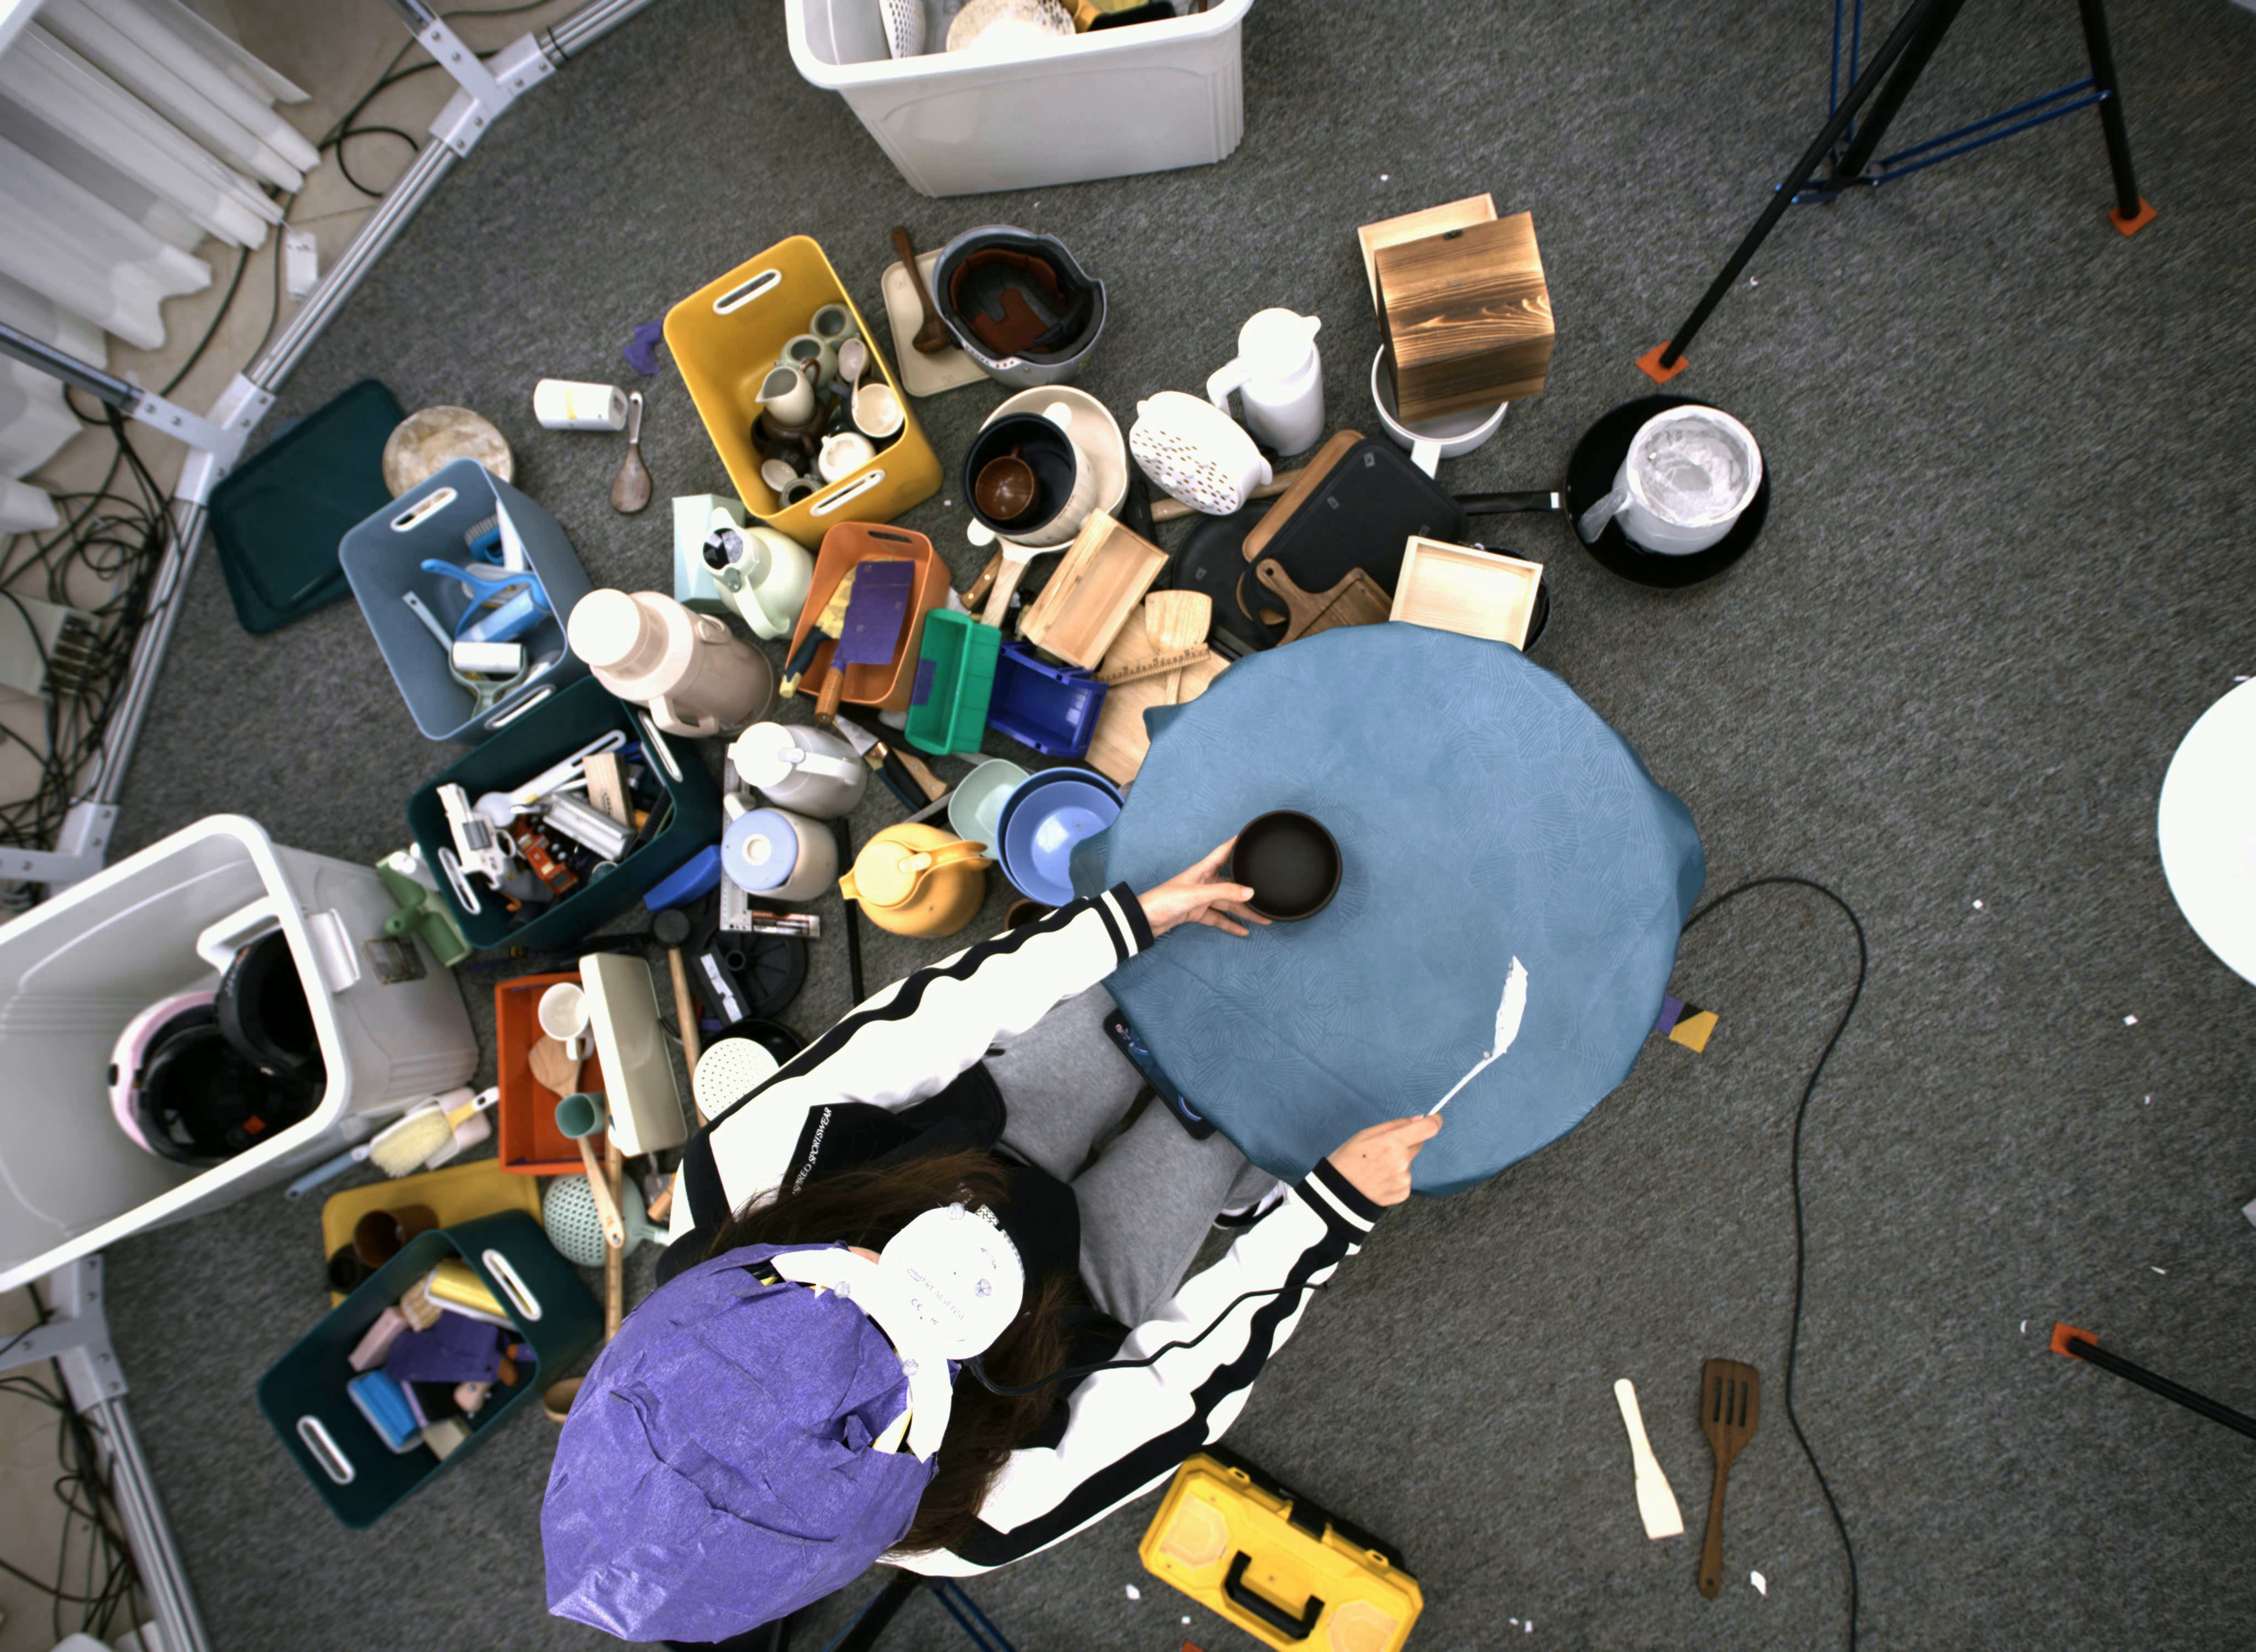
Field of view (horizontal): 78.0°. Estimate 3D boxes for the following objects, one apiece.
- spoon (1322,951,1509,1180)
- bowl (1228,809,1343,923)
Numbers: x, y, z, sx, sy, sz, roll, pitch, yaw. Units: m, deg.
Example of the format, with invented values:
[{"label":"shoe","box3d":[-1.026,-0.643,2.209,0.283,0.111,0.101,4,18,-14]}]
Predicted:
[{"label":"spoon","box3d":[0.273,0.233,1.347,0.059,0.099,0.280,43,102,-9]},{"label":"bowl","box3d":[0.165,0.043,1.444,0.118,0.070,0.117,-1,86,11]}]
